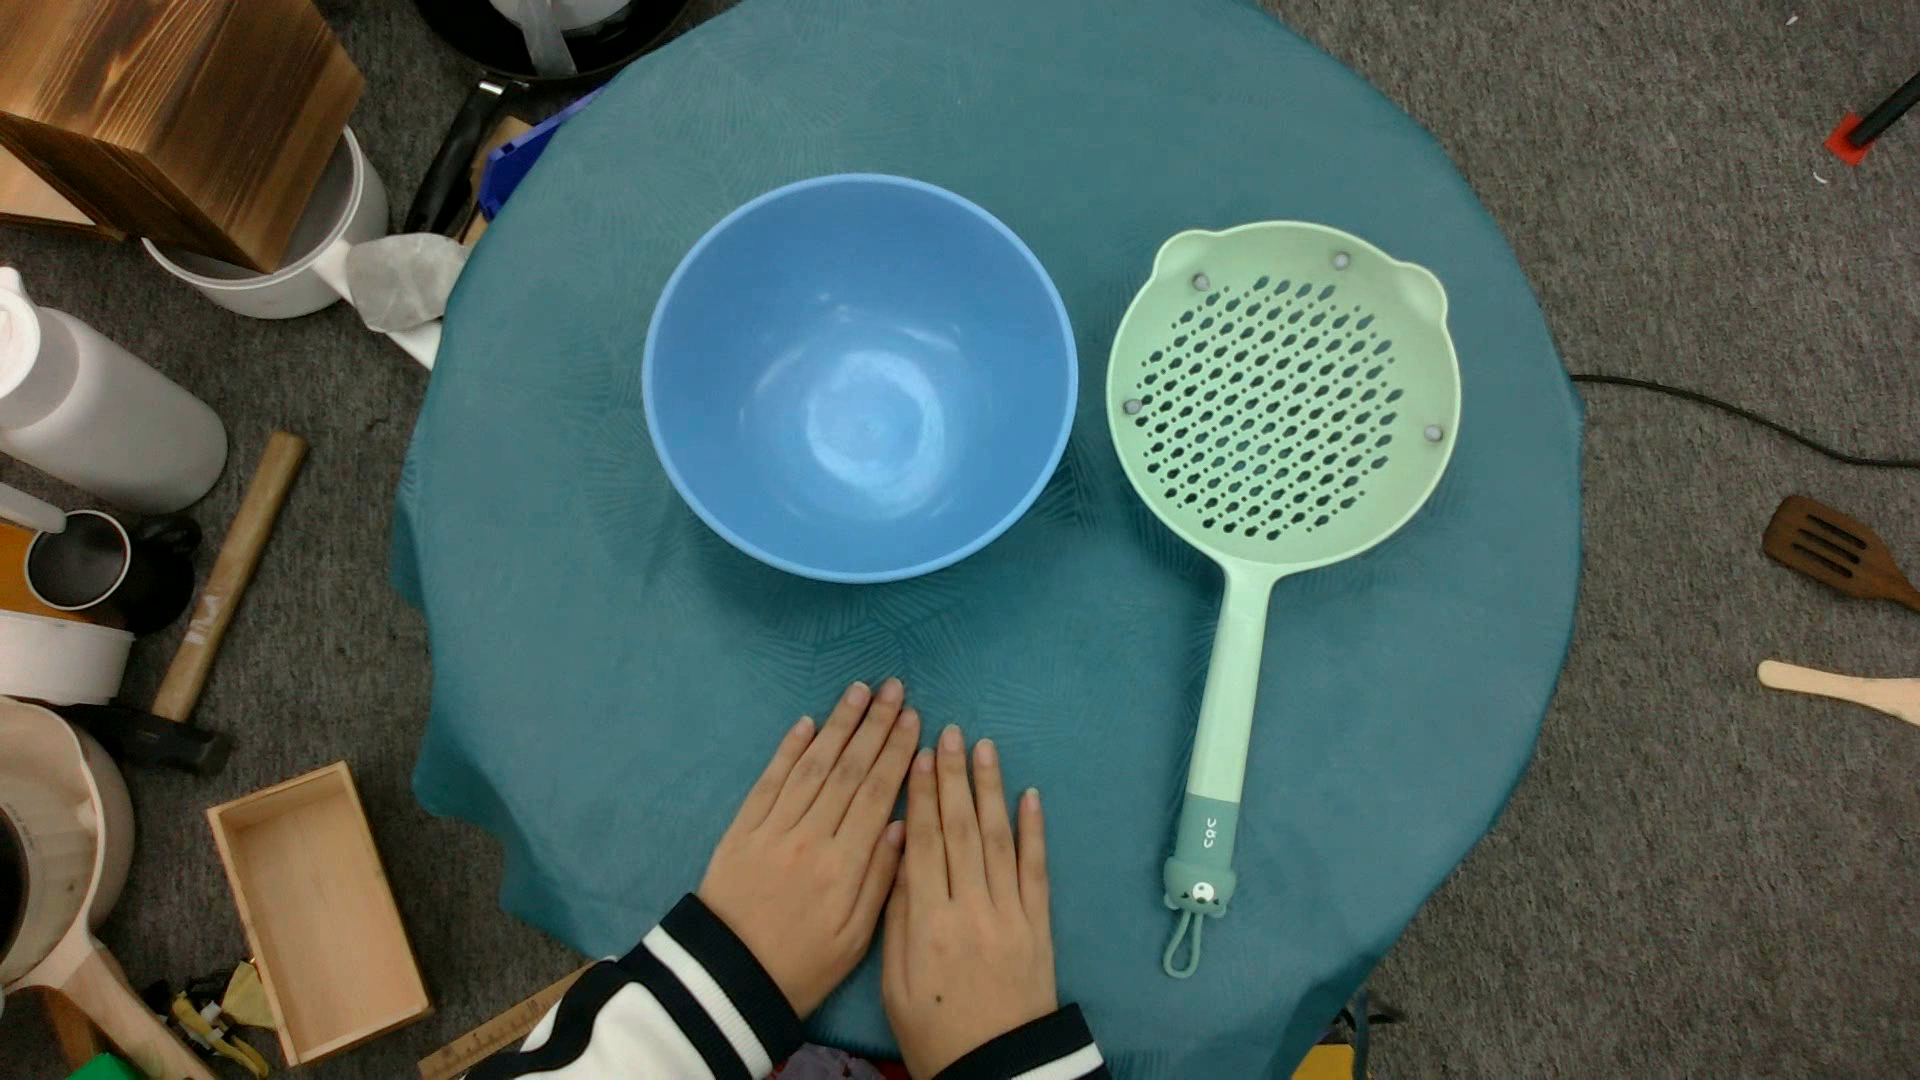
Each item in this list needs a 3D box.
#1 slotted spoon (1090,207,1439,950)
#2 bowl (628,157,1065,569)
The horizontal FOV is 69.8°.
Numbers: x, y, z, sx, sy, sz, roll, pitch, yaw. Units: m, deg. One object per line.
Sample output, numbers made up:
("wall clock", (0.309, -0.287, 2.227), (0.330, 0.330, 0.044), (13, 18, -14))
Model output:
("slotted spoon", (0.130, 0.018, 0.669), (0.169, 0.075, 0.359), (10, 77, 3))
("bowl", (-0.052, -0.073, 0.664), (0.196, 0.095, 0.197), (1, 76, -3))
